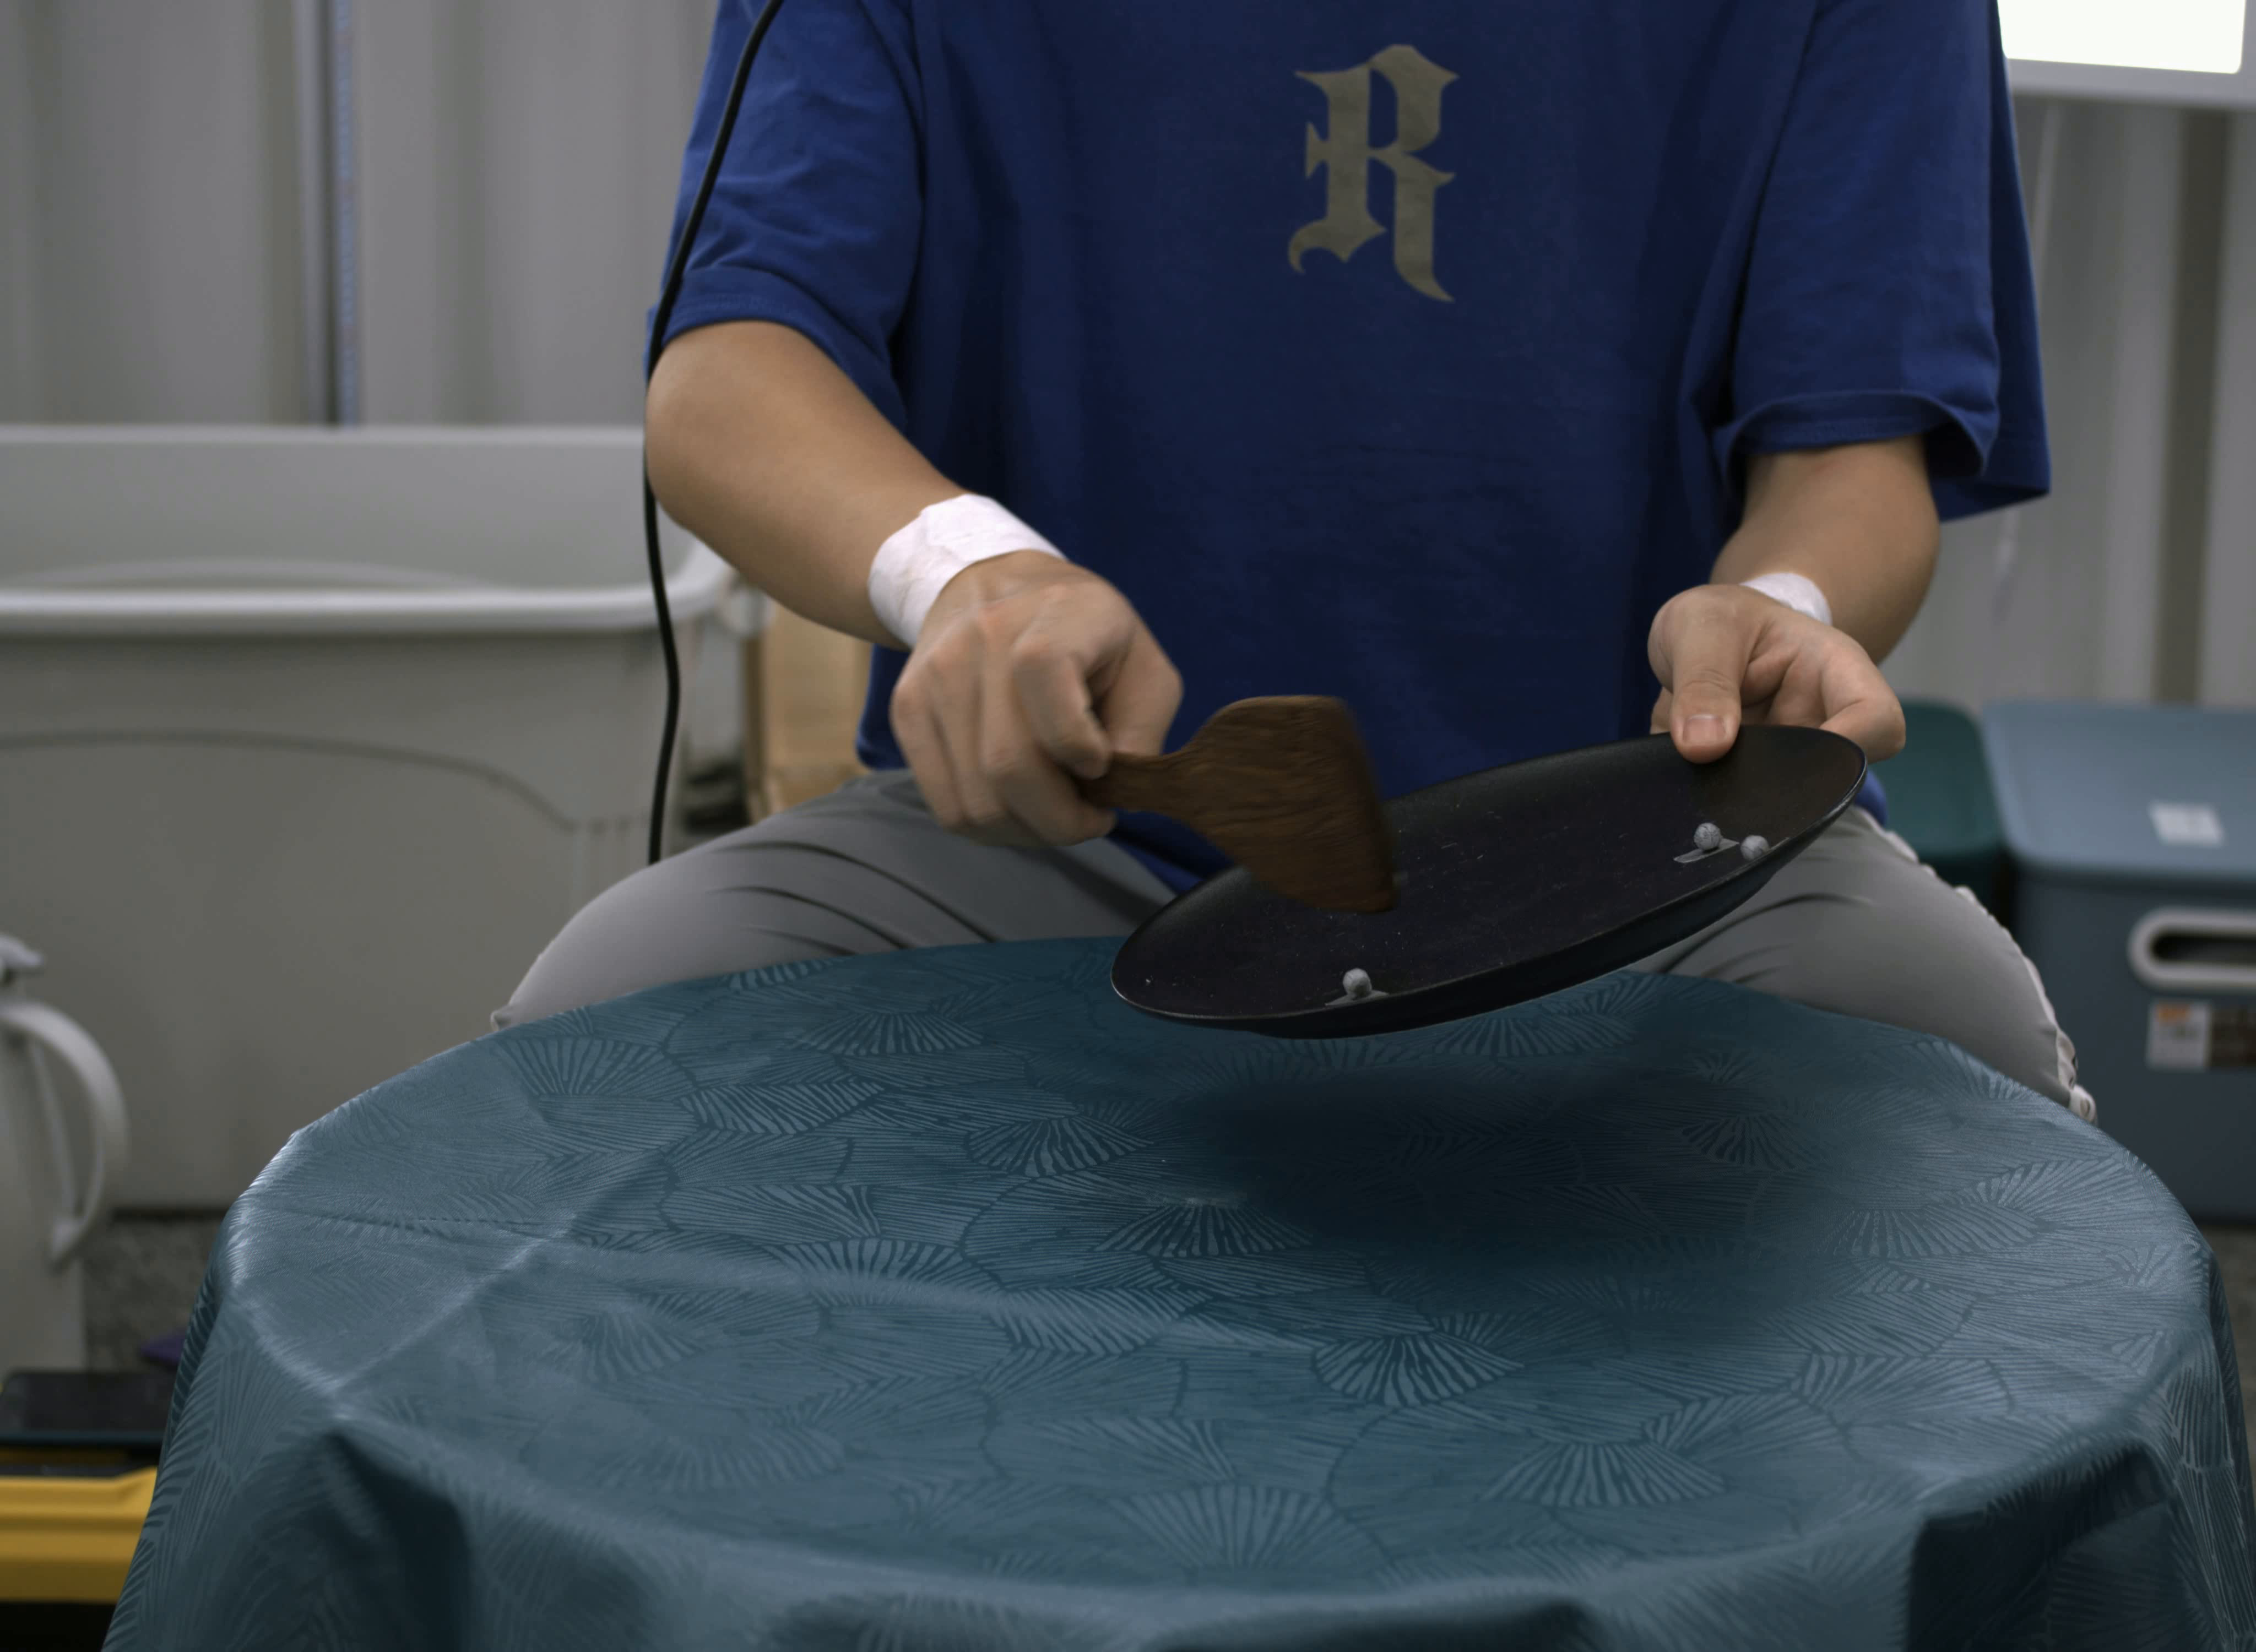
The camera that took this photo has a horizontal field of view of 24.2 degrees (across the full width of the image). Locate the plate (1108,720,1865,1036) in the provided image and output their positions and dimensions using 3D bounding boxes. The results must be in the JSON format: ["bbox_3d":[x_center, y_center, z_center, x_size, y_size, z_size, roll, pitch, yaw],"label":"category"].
[{"bbox_3d":[0.112,0.020,1.630,0.243,0.023,0.243,-16,13,5],"label":"plate"}]

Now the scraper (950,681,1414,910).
[{"bbox_3d":[0.011,-0.014,1.671,0.011,0.076,0.209,-32,24,-34],"label":"scraper"}]
